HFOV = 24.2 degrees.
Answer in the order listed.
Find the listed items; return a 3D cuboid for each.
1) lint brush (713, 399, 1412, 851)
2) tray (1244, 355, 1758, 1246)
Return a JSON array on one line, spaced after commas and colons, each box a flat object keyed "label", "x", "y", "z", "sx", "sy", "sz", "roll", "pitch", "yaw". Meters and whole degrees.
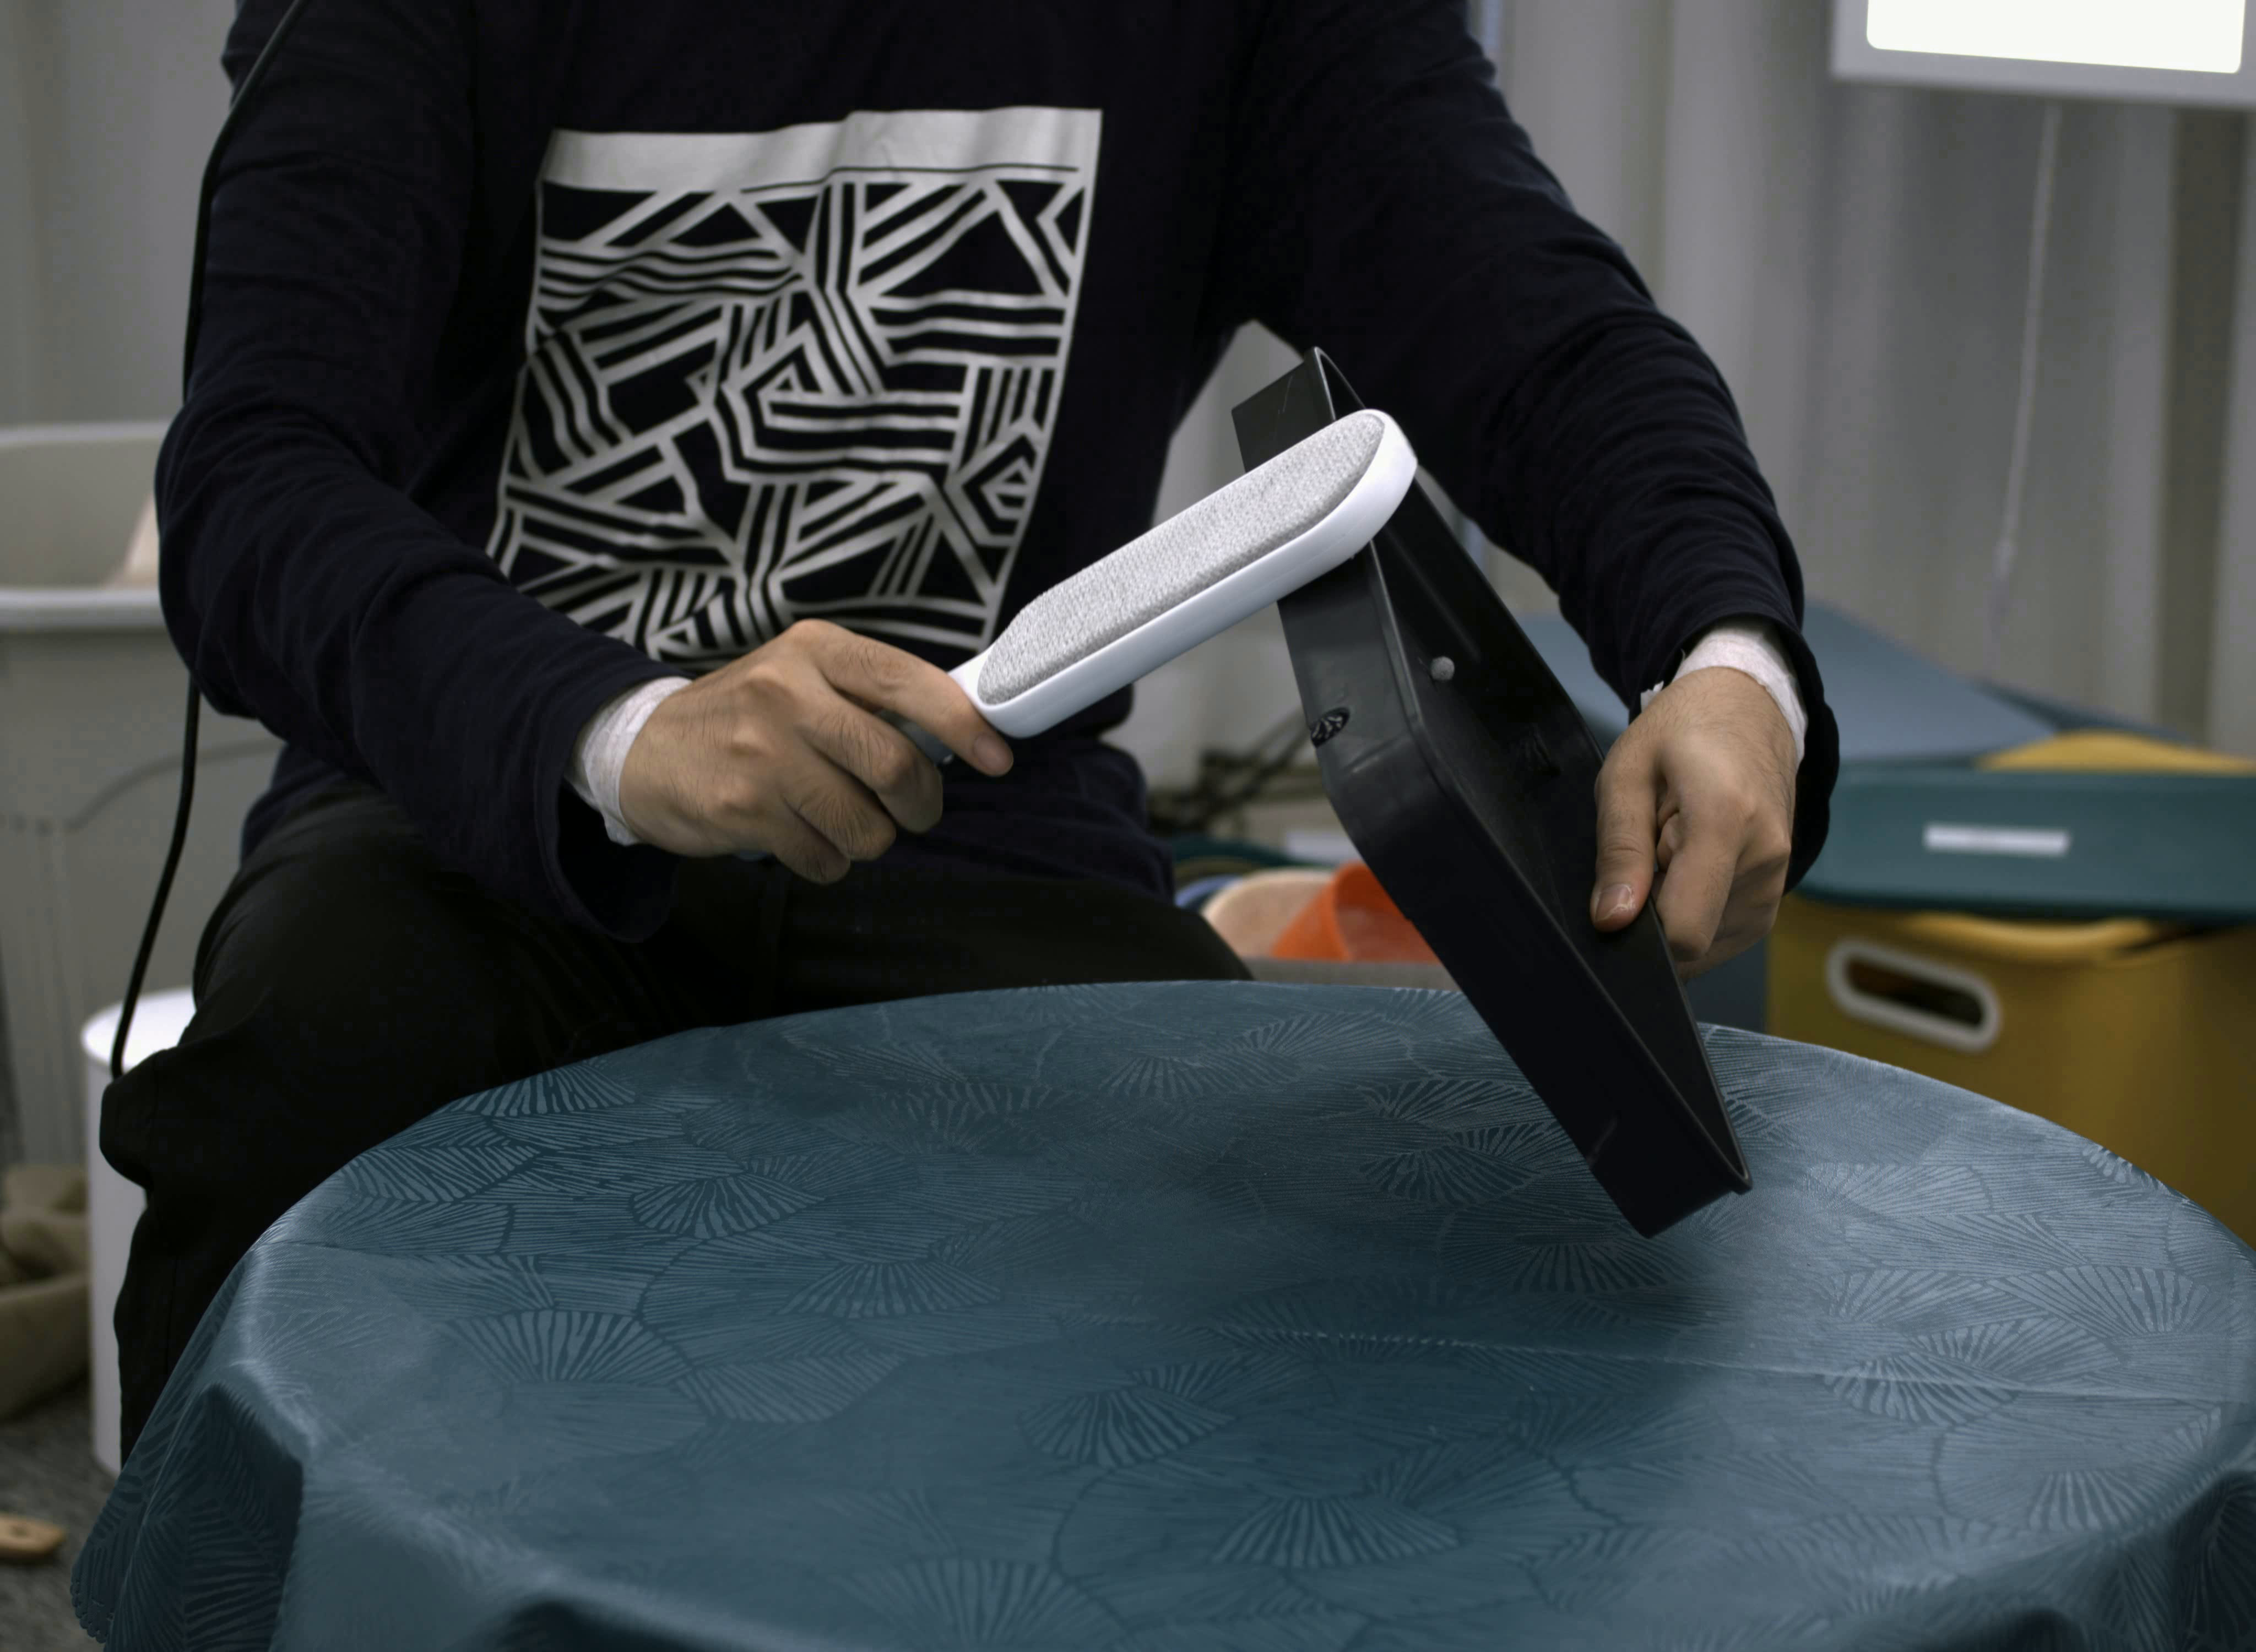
[{"label": "lint brush", "x": -0.026, "y": -0.057, "z": 1.636, "sx": 0.307, "sy": 0.021, "sz": 0.059, "roll": -28, "pitch": 36, "yaw": 39}, {"label": "tray", "x": 0.109, "y": -0.015, "z": 1.603, "sx": 0.037, "sy": 0.186, "sz": 0.315, "roll": -31, "pitch": 24, "yaw": 11}]
